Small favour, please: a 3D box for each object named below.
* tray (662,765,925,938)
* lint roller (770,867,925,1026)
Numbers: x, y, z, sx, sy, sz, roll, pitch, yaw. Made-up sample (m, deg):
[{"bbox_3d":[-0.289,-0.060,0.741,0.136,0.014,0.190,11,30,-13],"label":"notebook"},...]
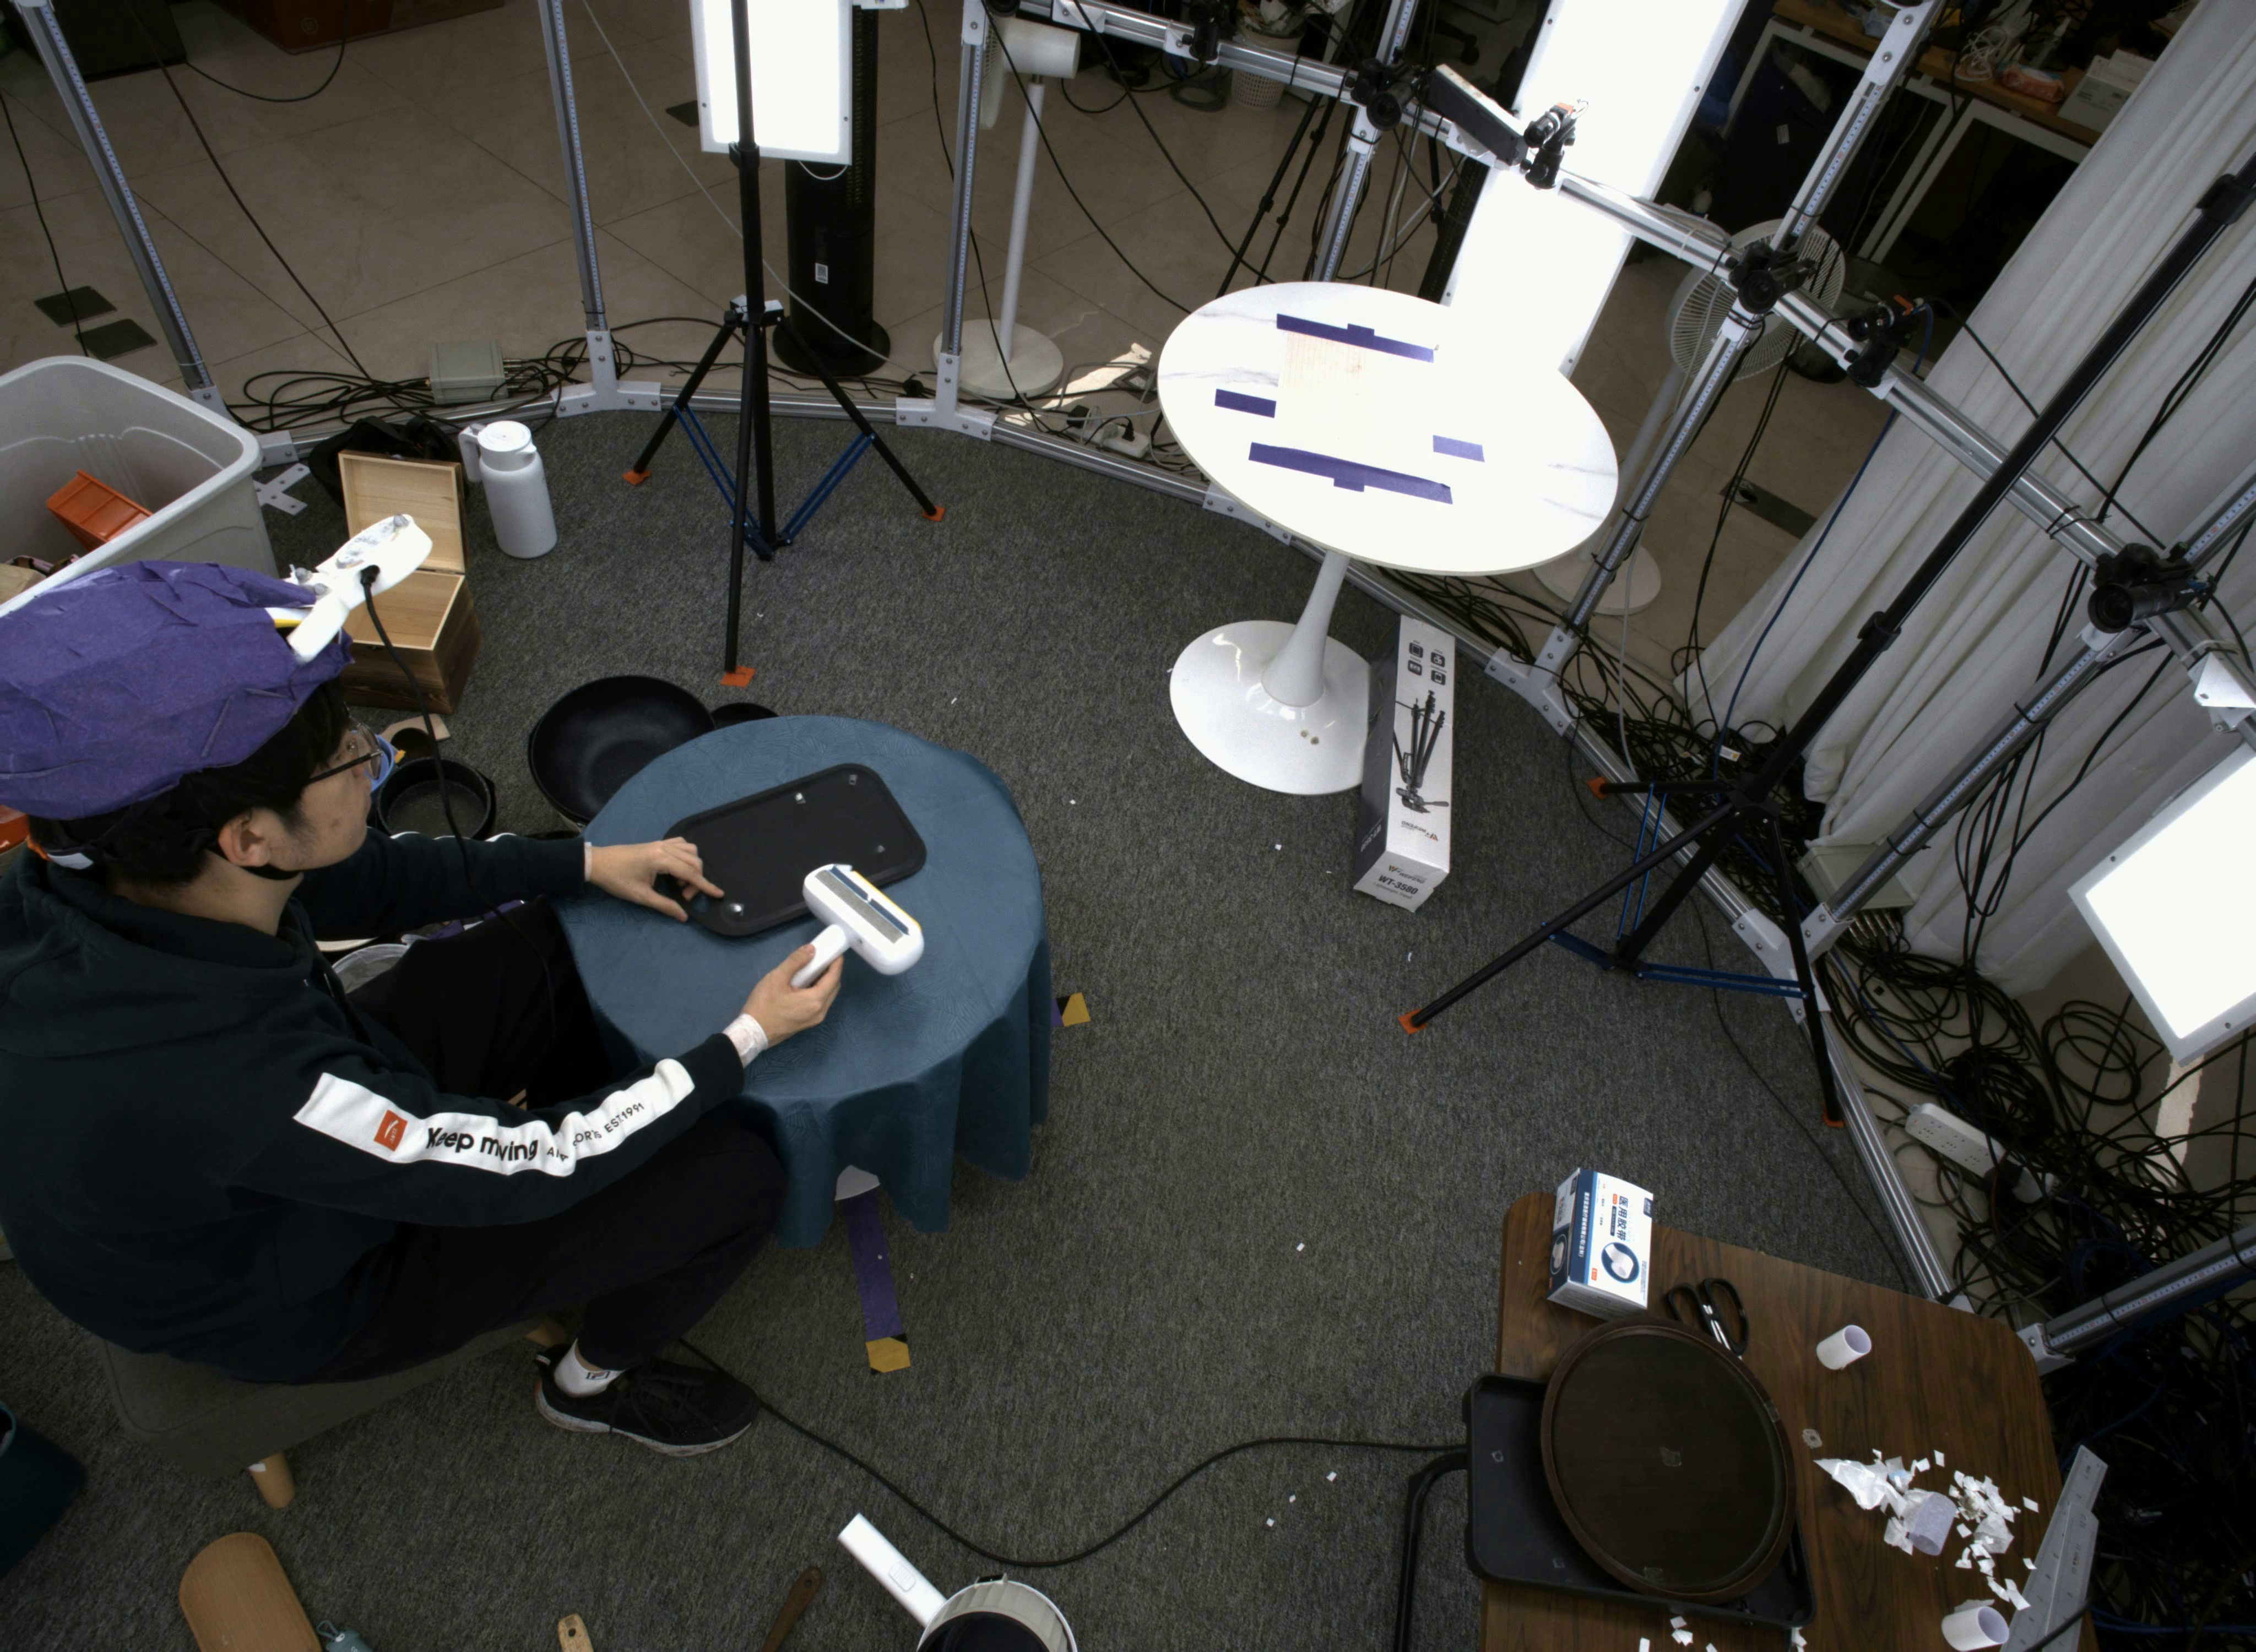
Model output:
[{"bbox_3d":[-0.440,0.028,1.693,0.327,0.010,0.206,-22,61,-30],"label":"tray"},{"bbox_3d":[-0.358,0.157,1.564,0.192,0.077,0.186,-40,55,-15],"label":"lint roller"}]
